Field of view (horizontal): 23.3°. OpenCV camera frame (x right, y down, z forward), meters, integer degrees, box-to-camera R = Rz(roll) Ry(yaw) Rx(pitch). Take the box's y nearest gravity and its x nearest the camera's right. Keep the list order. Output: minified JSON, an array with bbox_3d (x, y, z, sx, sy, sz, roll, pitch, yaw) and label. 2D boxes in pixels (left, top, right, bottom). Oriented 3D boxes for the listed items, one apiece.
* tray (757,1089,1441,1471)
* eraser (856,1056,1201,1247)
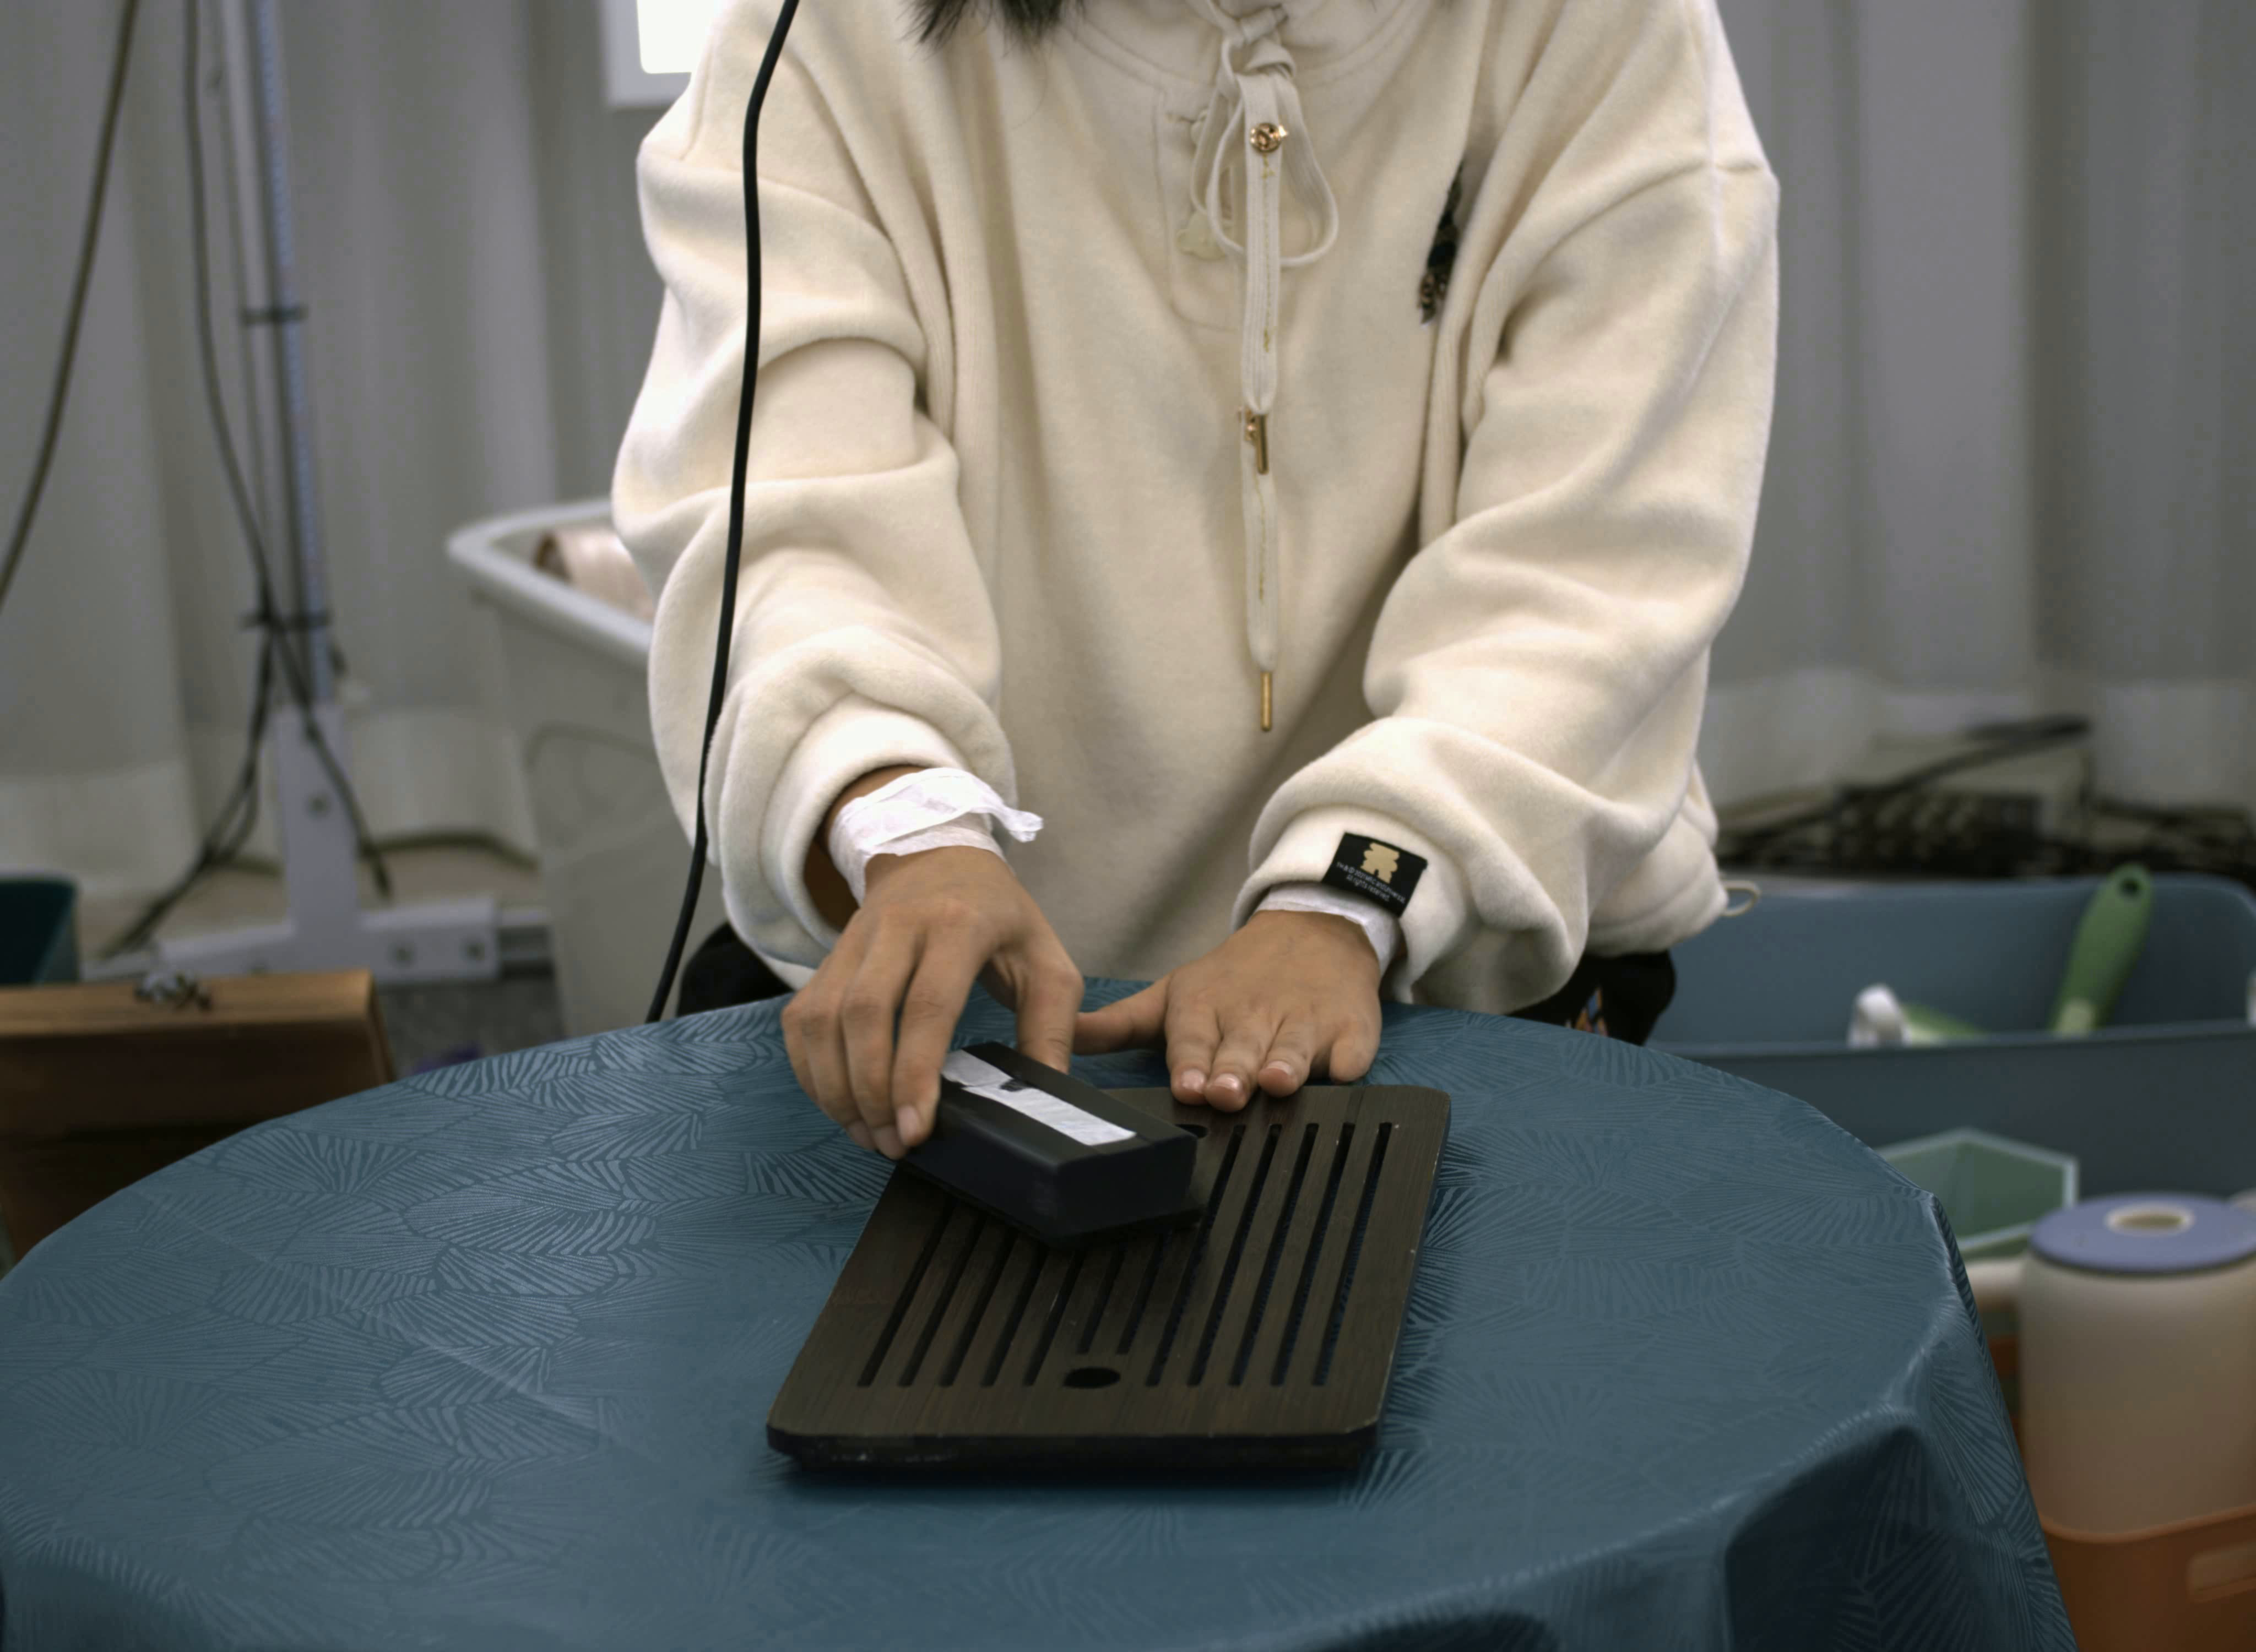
[{"bbox_3d":[-0.001,0.132,1.615,0.170,0.018,0.307,-1,15,8],"label":"tray"},{"bbox_3d":[-0.031,0.098,1.668,0.053,0.030,0.126,-7,13,-30],"label":"eraser"}]
